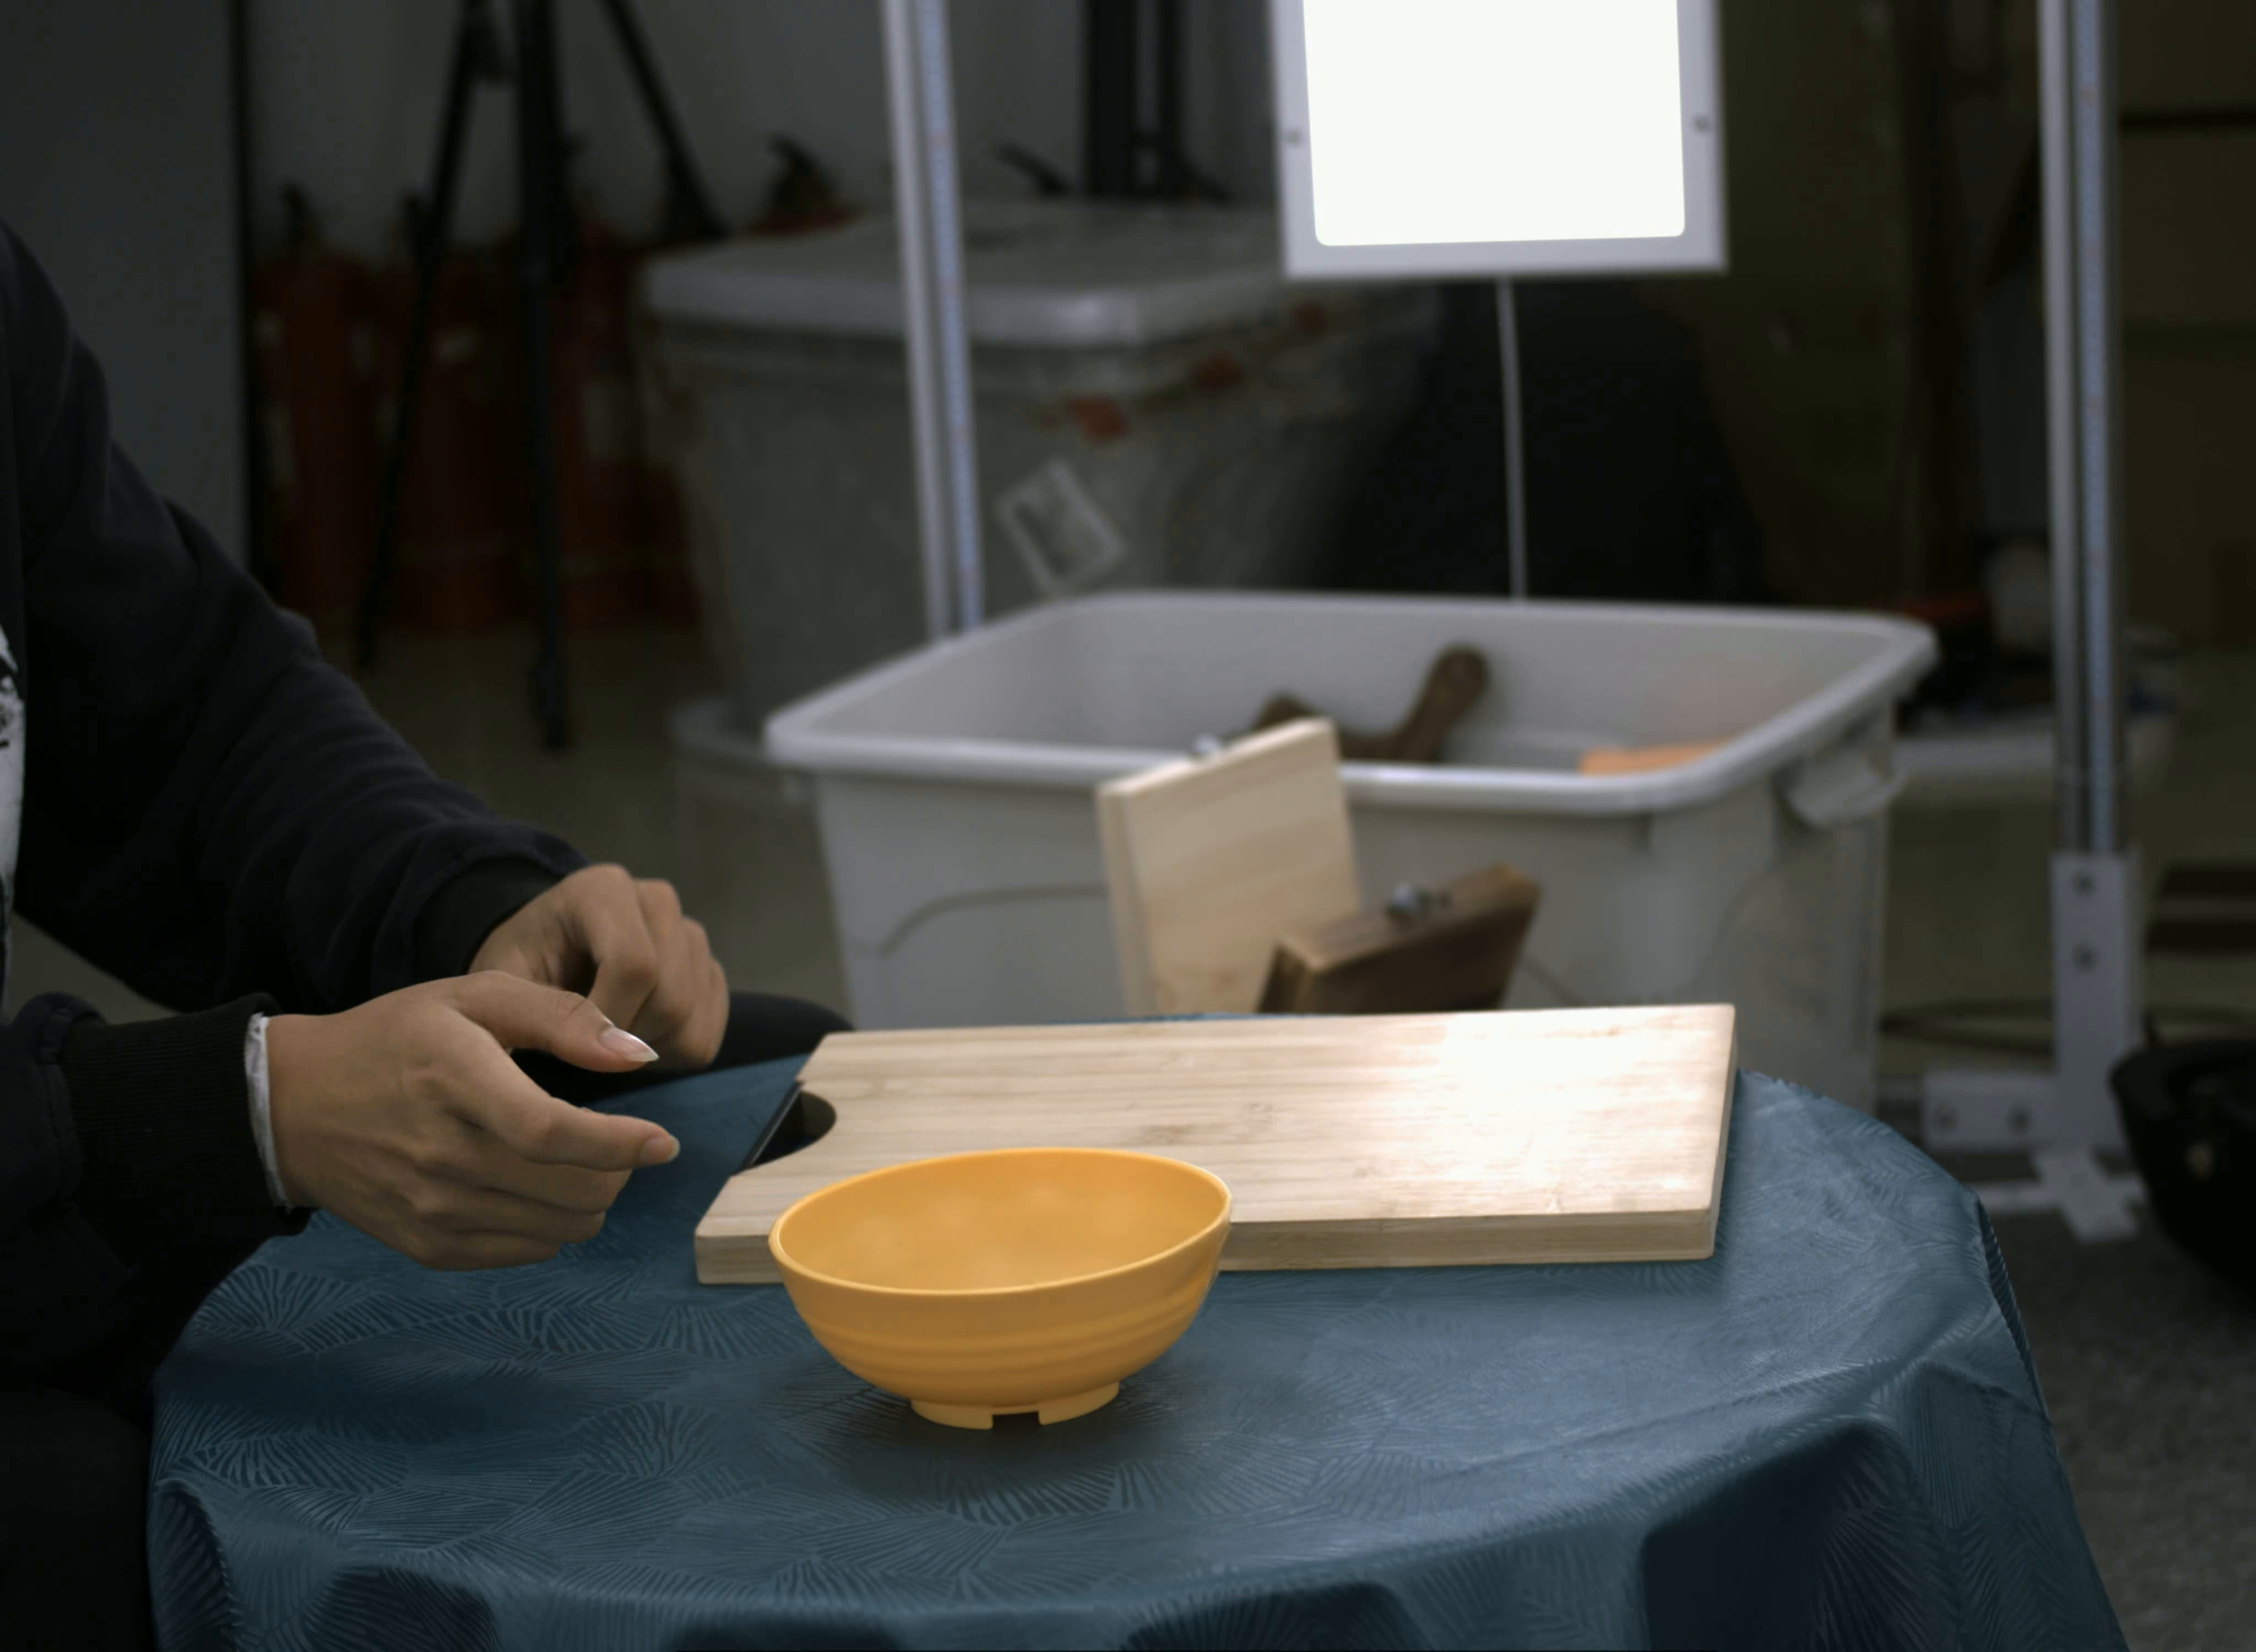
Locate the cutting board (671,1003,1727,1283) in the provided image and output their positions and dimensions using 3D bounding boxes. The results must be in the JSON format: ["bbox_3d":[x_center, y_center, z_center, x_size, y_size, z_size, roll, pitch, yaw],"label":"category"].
[{"bbox_3d":[0.034,0.110,1.921,0.350,0.023,0.248,-3,14,10],"label":"cutting board"}]

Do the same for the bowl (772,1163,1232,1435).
[{"bbox_3d":[-0.036,0.150,1.700,0.145,0.060,0.145,-6,11,0],"label":"bowl"}]
